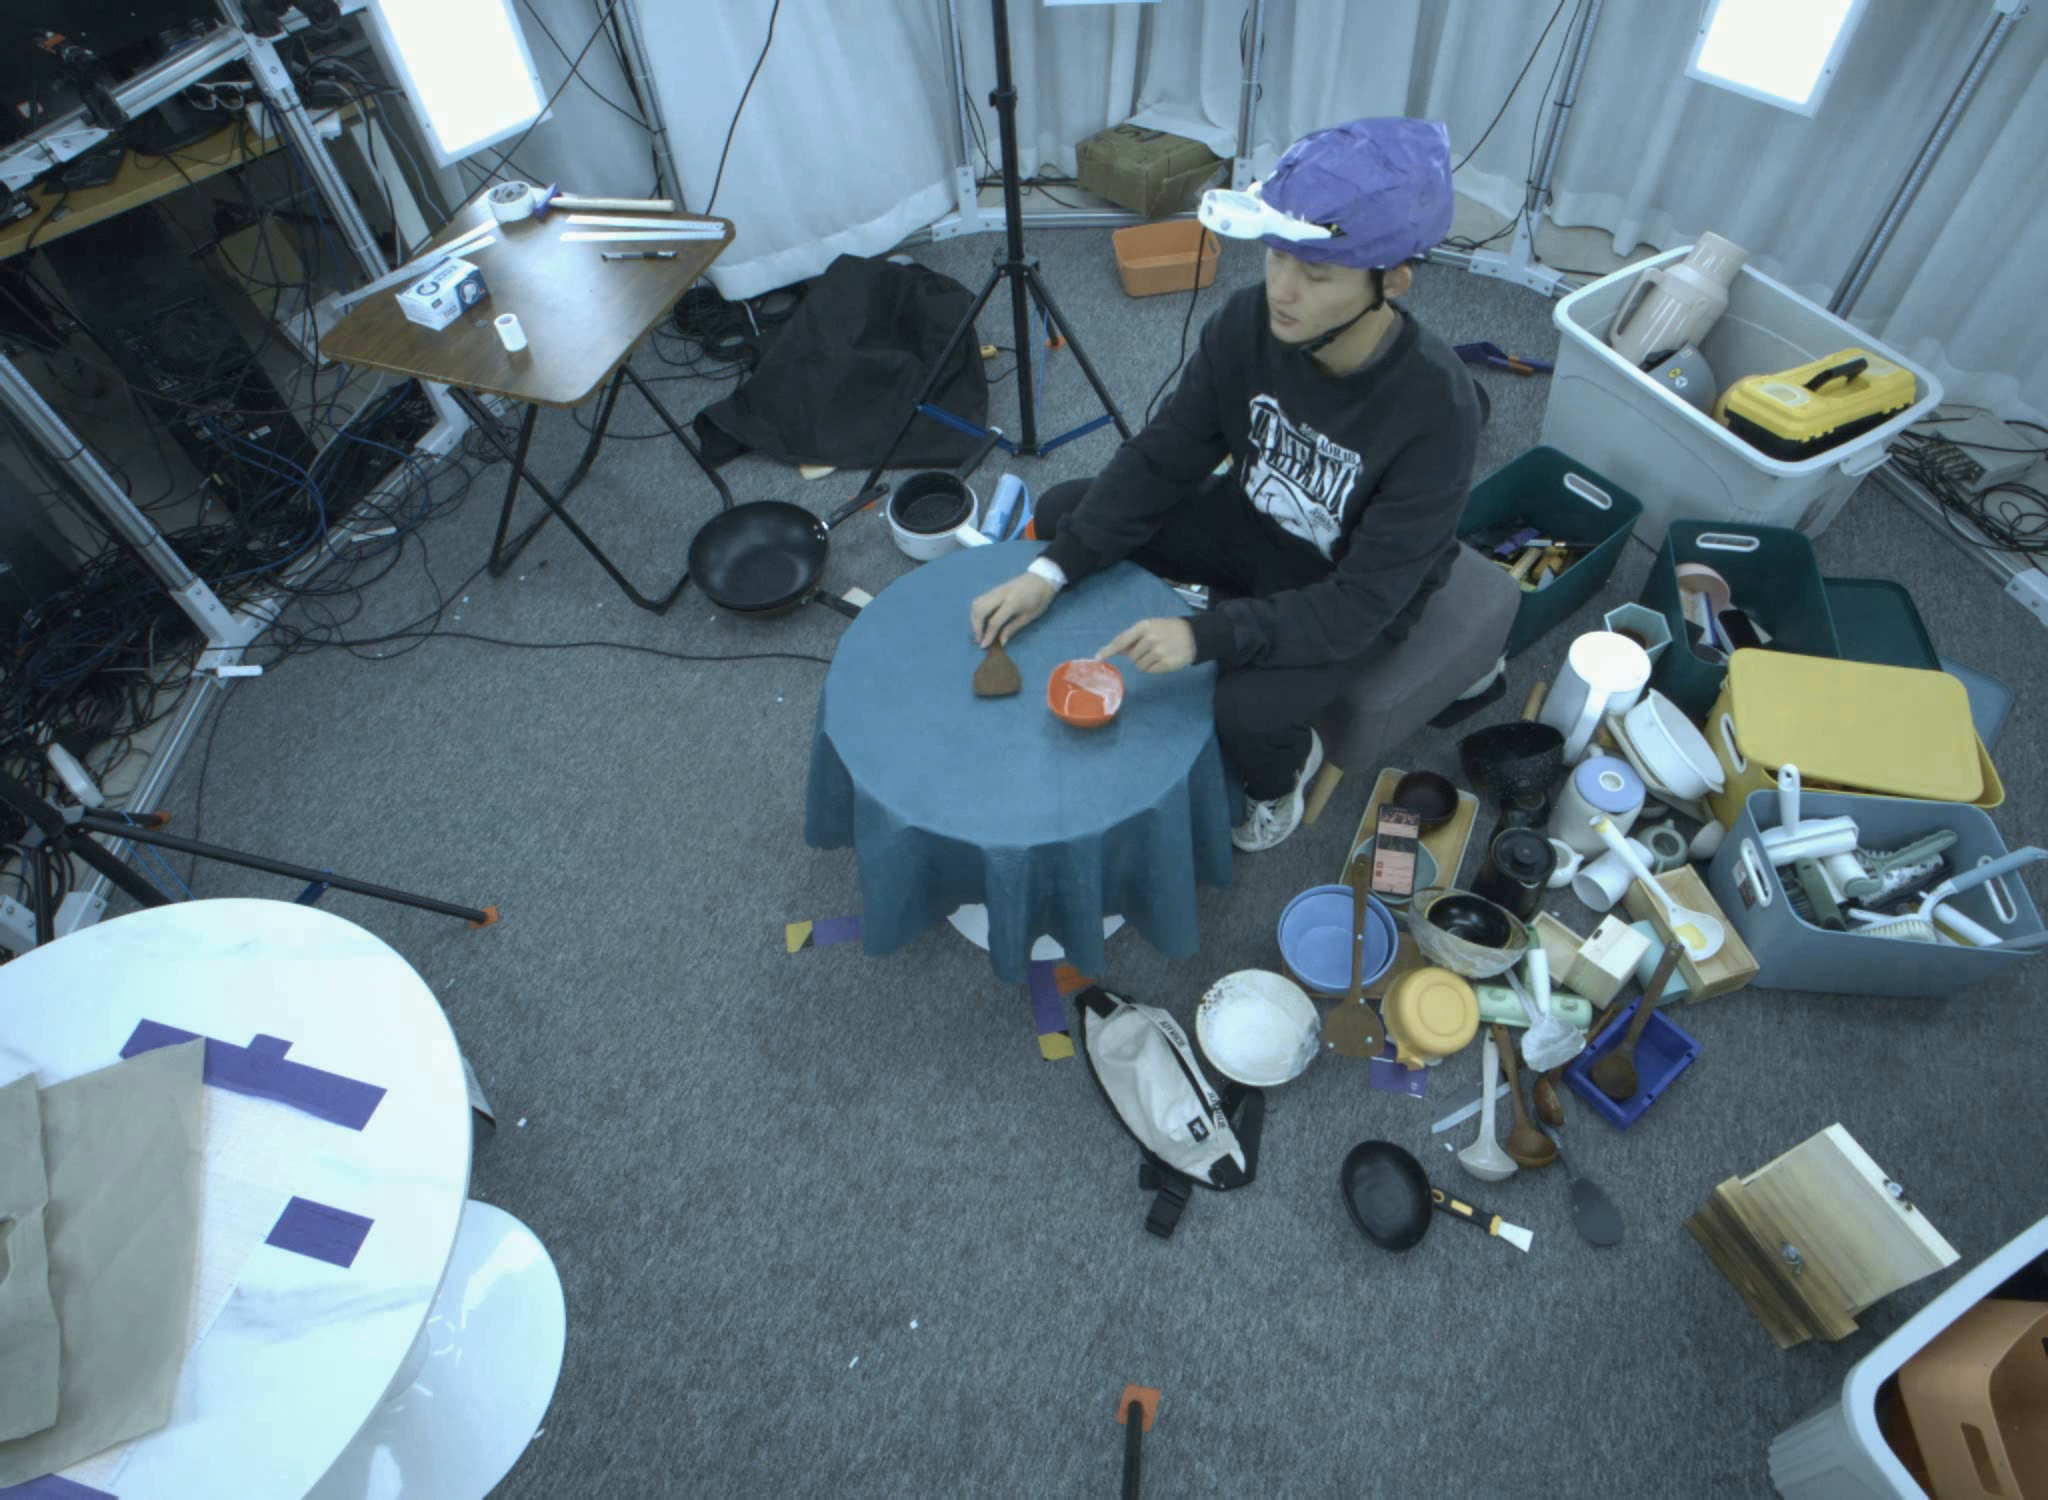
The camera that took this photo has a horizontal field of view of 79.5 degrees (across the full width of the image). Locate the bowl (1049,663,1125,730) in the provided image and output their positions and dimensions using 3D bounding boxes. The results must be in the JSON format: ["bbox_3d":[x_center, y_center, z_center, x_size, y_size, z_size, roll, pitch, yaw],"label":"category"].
[{"bbox_3d":[0.094,-0.071,1.815,0.119,0.052,0.118,-2,55,3],"label":"bowl"}]

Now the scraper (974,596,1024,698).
[{"bbox_3d":[-0.044,-0.161,1.908,0.076,0.011,0.208,-3,54,-2],"label":"scraper"}]
